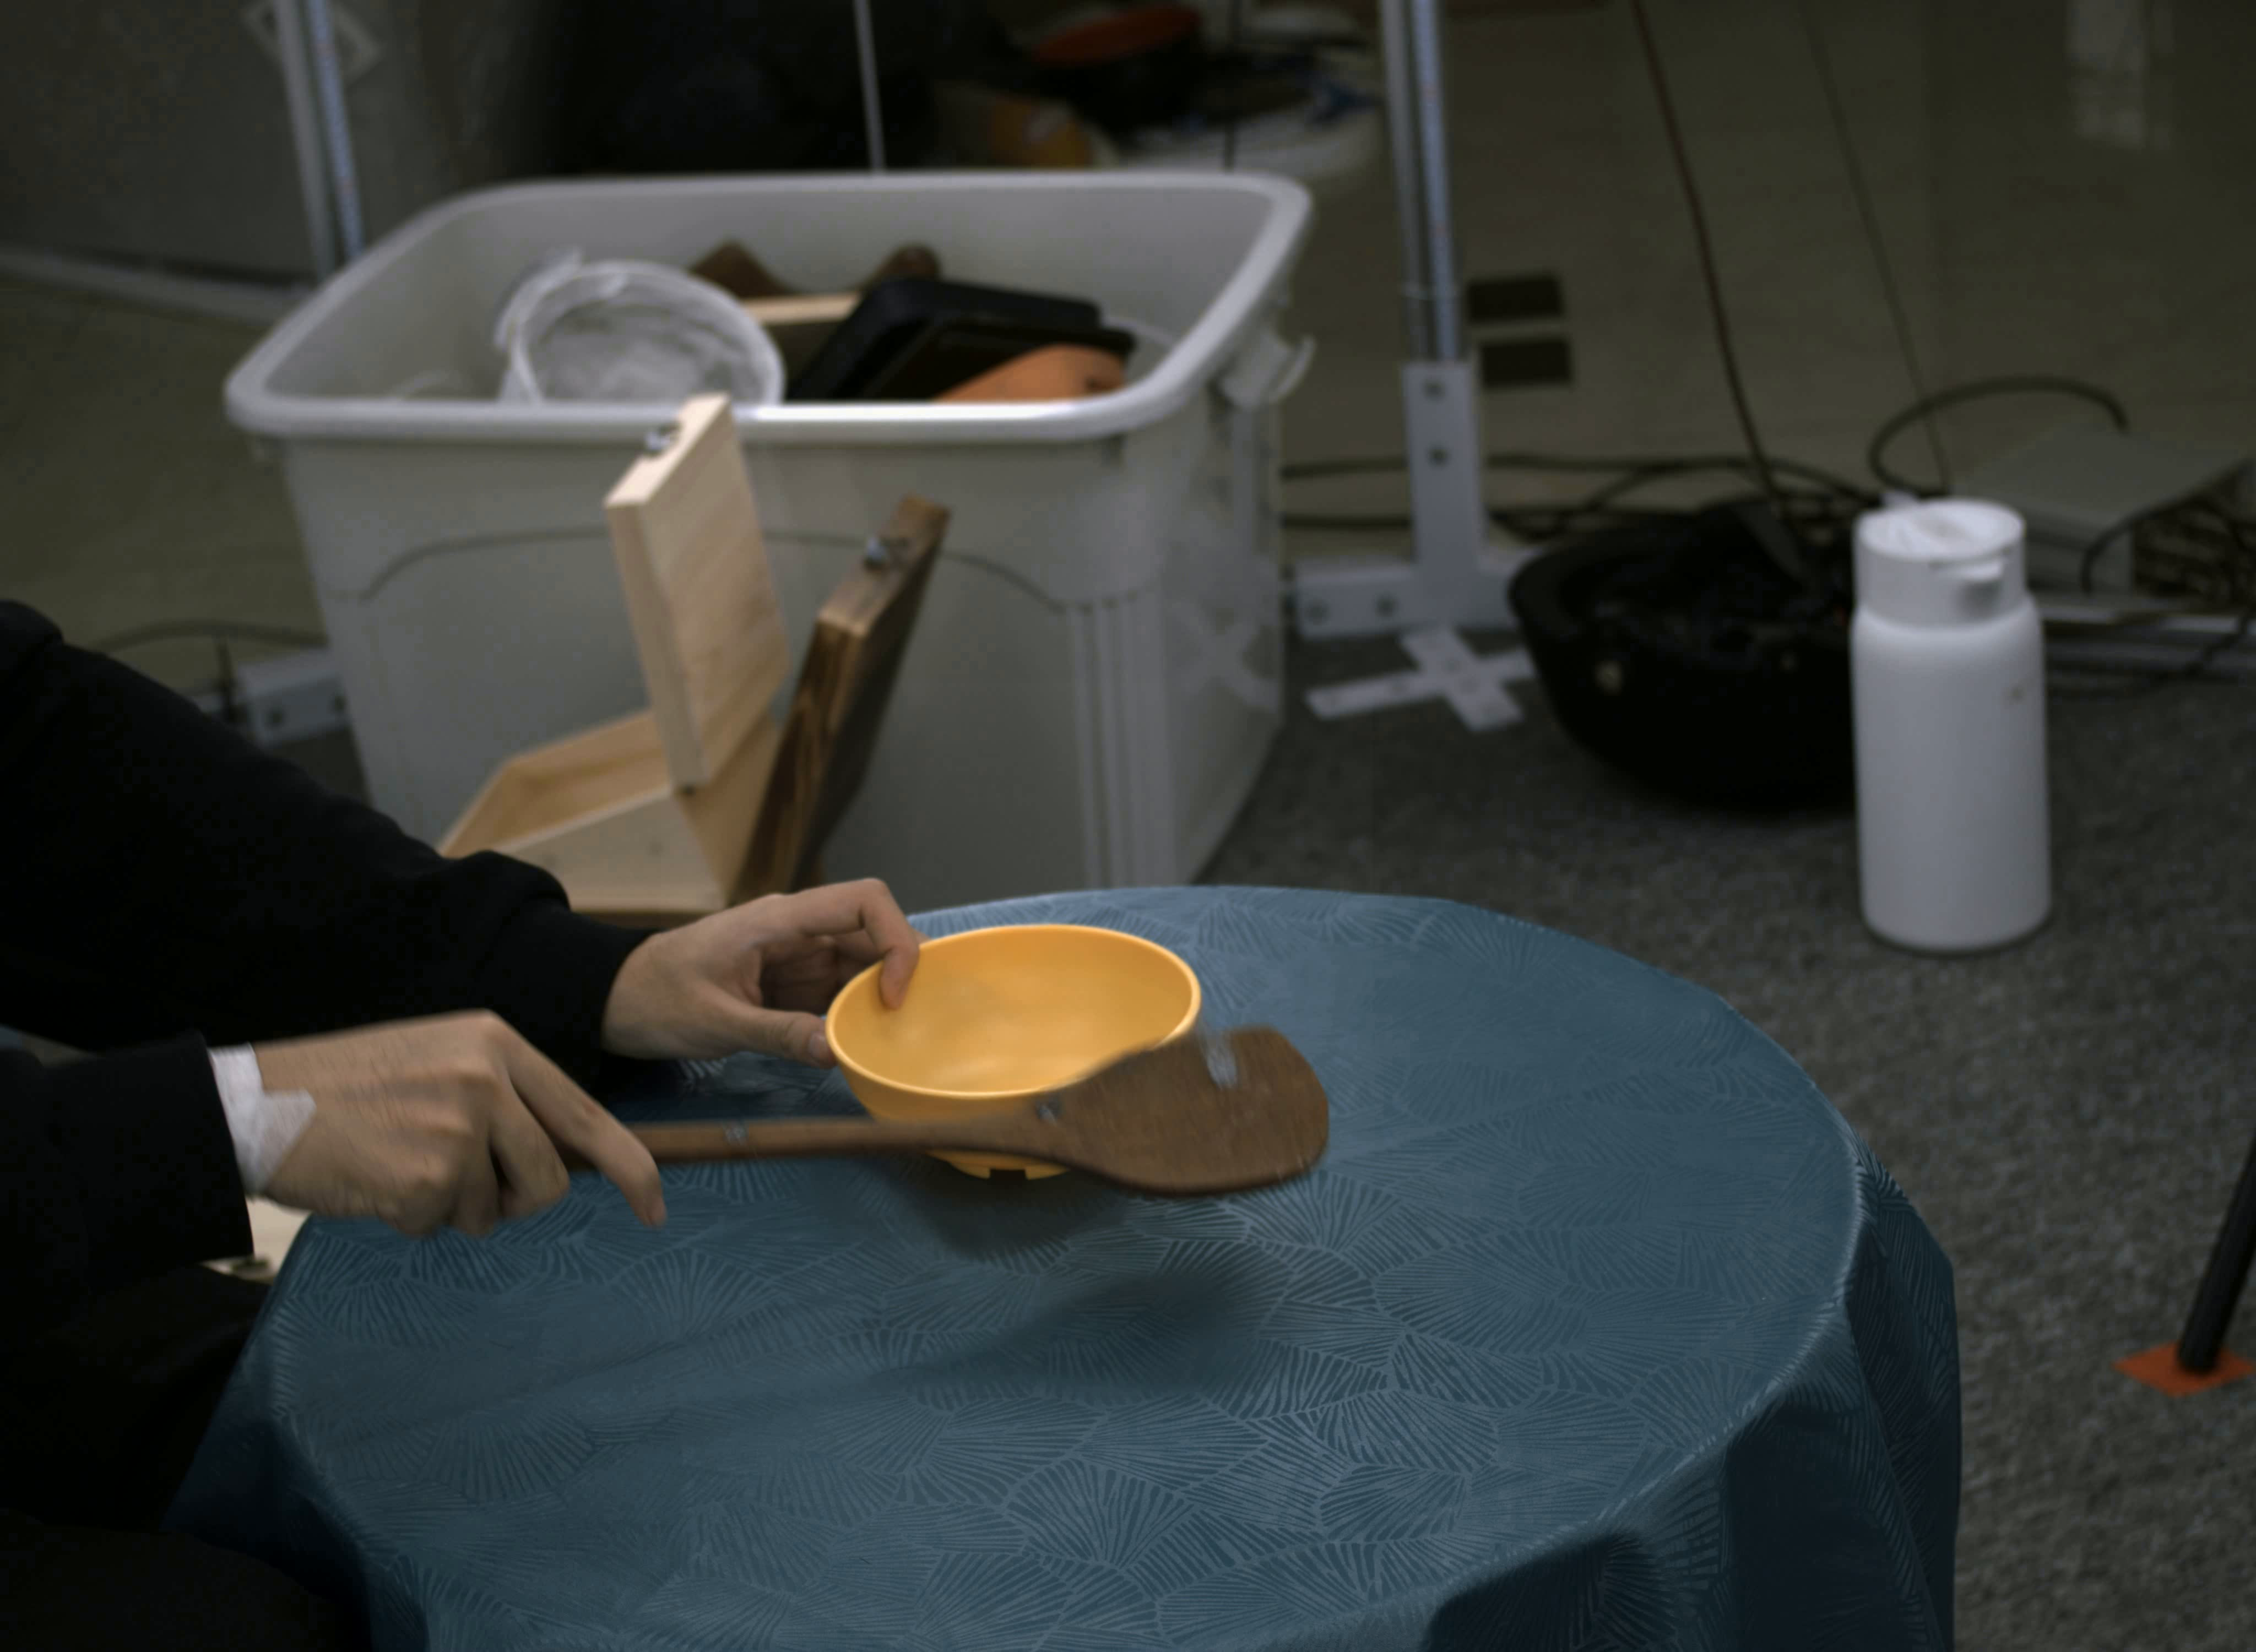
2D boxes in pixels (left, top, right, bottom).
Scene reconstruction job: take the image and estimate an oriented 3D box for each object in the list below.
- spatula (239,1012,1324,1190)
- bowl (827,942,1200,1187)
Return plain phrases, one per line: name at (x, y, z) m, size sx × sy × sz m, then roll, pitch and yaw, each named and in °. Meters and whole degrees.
spatula at (-0.121, 0.106, 2.014) m, size 0.385 × 0.016 × 0.094 m, roll -3°, pitch 35°, yaw -9°
bowl at (-0.042, 0.099, 2.183) m, size 0.145 × 0.061 × 0.143 m, roll -5°, pitch 23°, yaw 2°
